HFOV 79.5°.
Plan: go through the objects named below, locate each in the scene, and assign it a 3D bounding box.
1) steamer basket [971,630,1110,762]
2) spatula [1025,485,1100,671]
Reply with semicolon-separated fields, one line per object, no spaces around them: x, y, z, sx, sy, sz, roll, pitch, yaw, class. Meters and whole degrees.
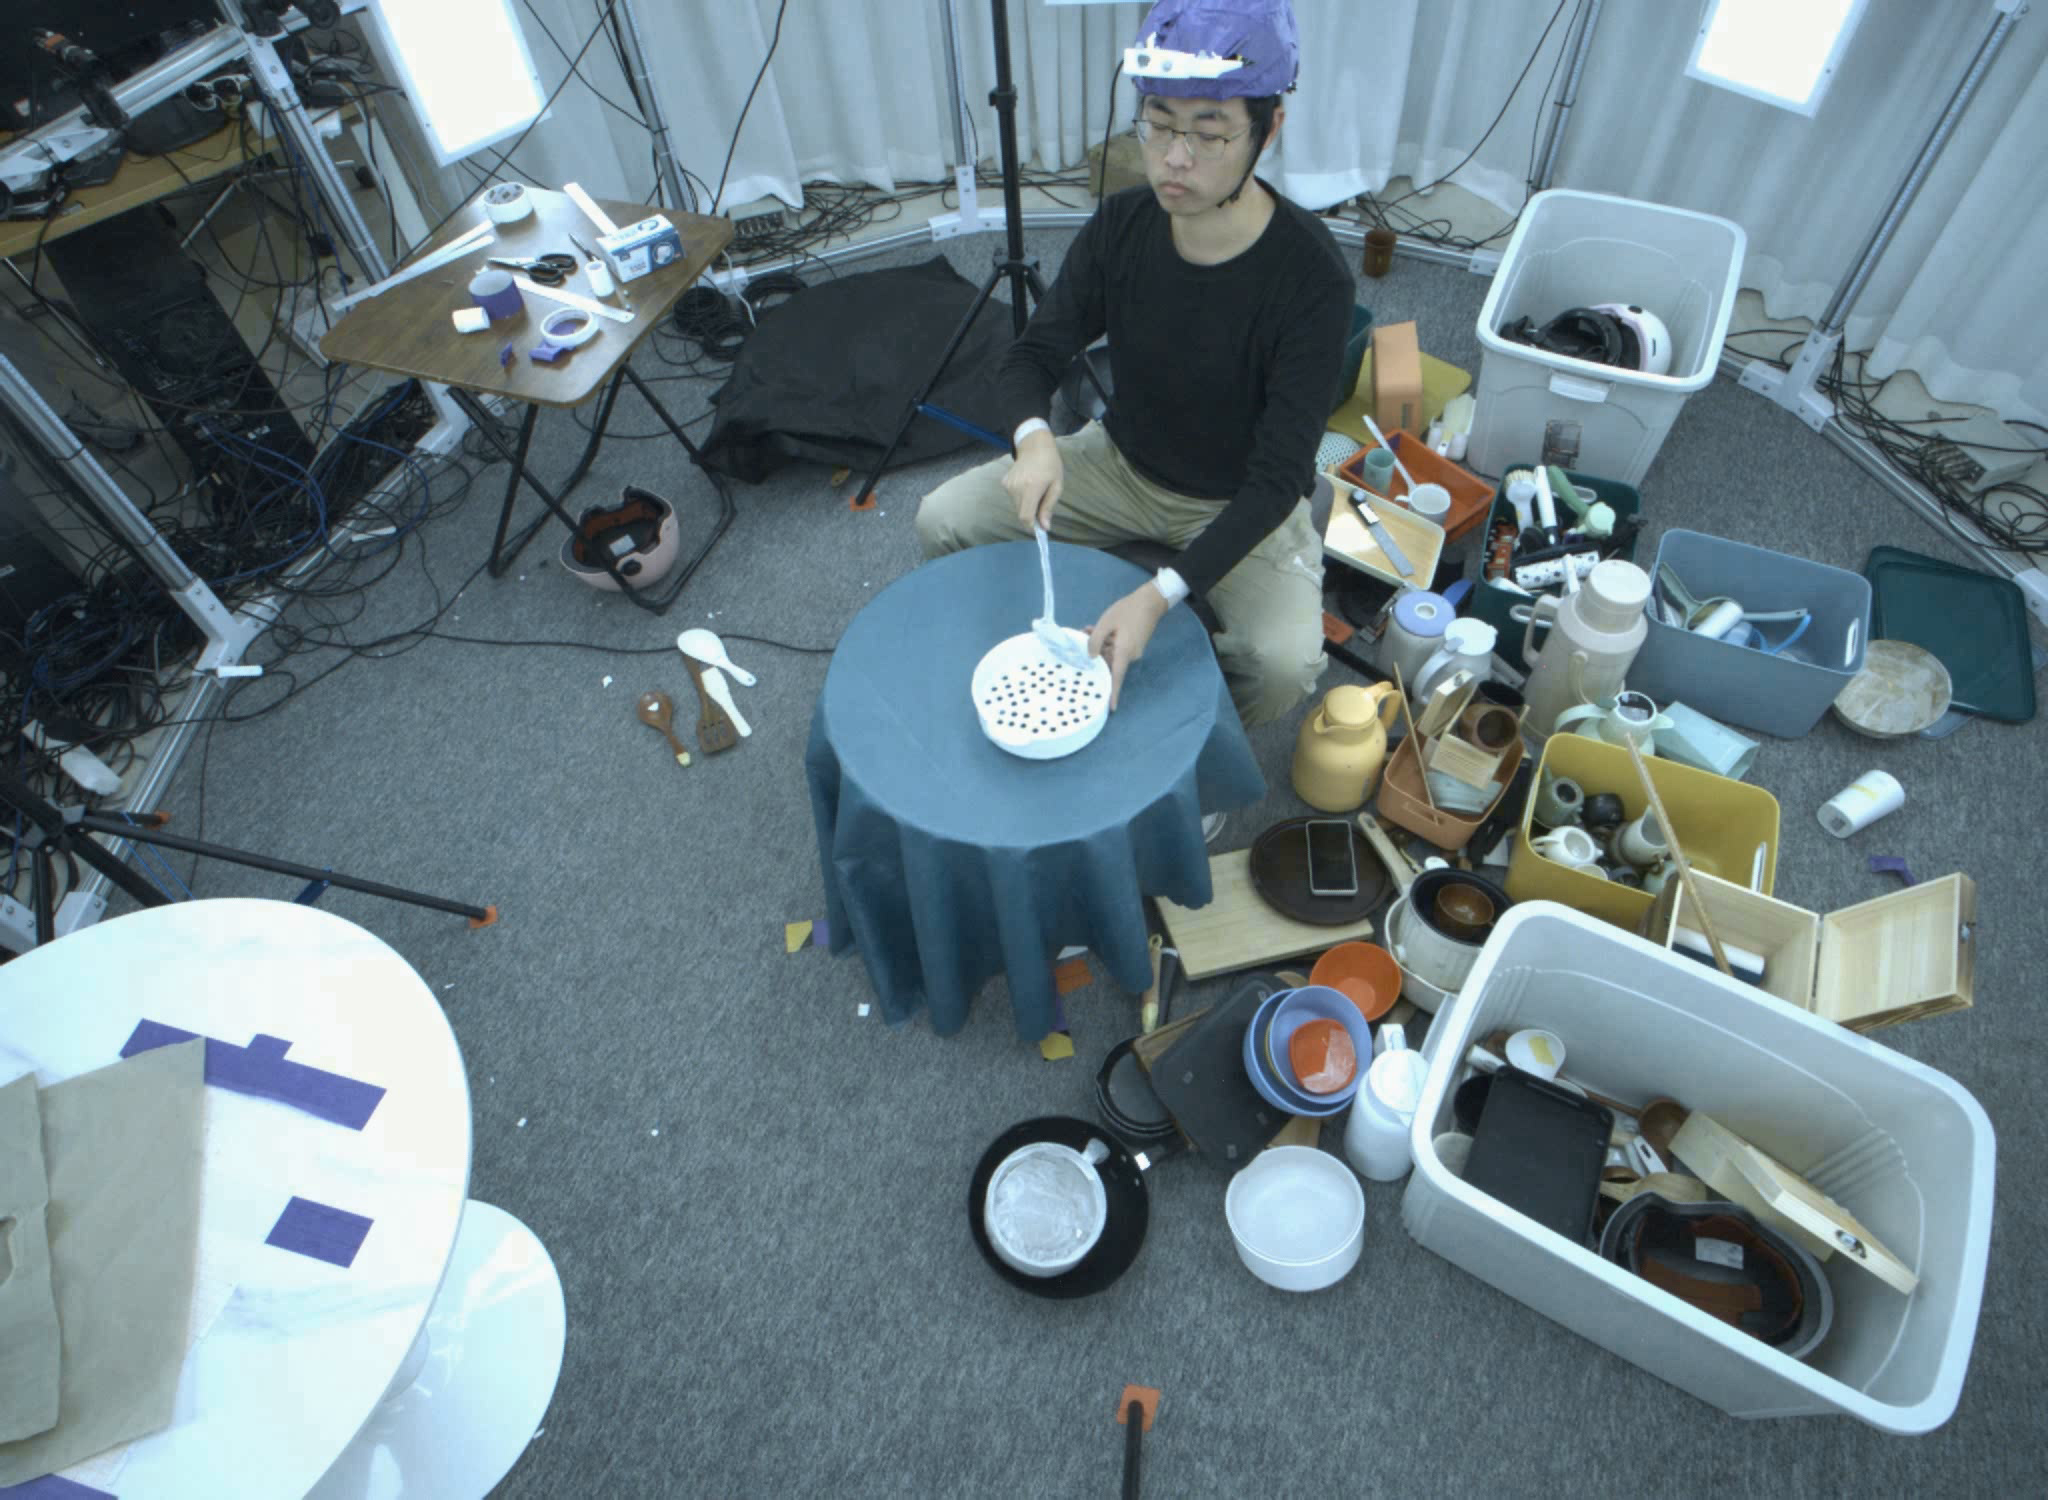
0.024;-0.075;1.797;0.199;0.070;0.231;24;58;16;steamer basket
0.036;-0.257;1.737;0.101;0.044;0.360;17;53;-37;spatula
